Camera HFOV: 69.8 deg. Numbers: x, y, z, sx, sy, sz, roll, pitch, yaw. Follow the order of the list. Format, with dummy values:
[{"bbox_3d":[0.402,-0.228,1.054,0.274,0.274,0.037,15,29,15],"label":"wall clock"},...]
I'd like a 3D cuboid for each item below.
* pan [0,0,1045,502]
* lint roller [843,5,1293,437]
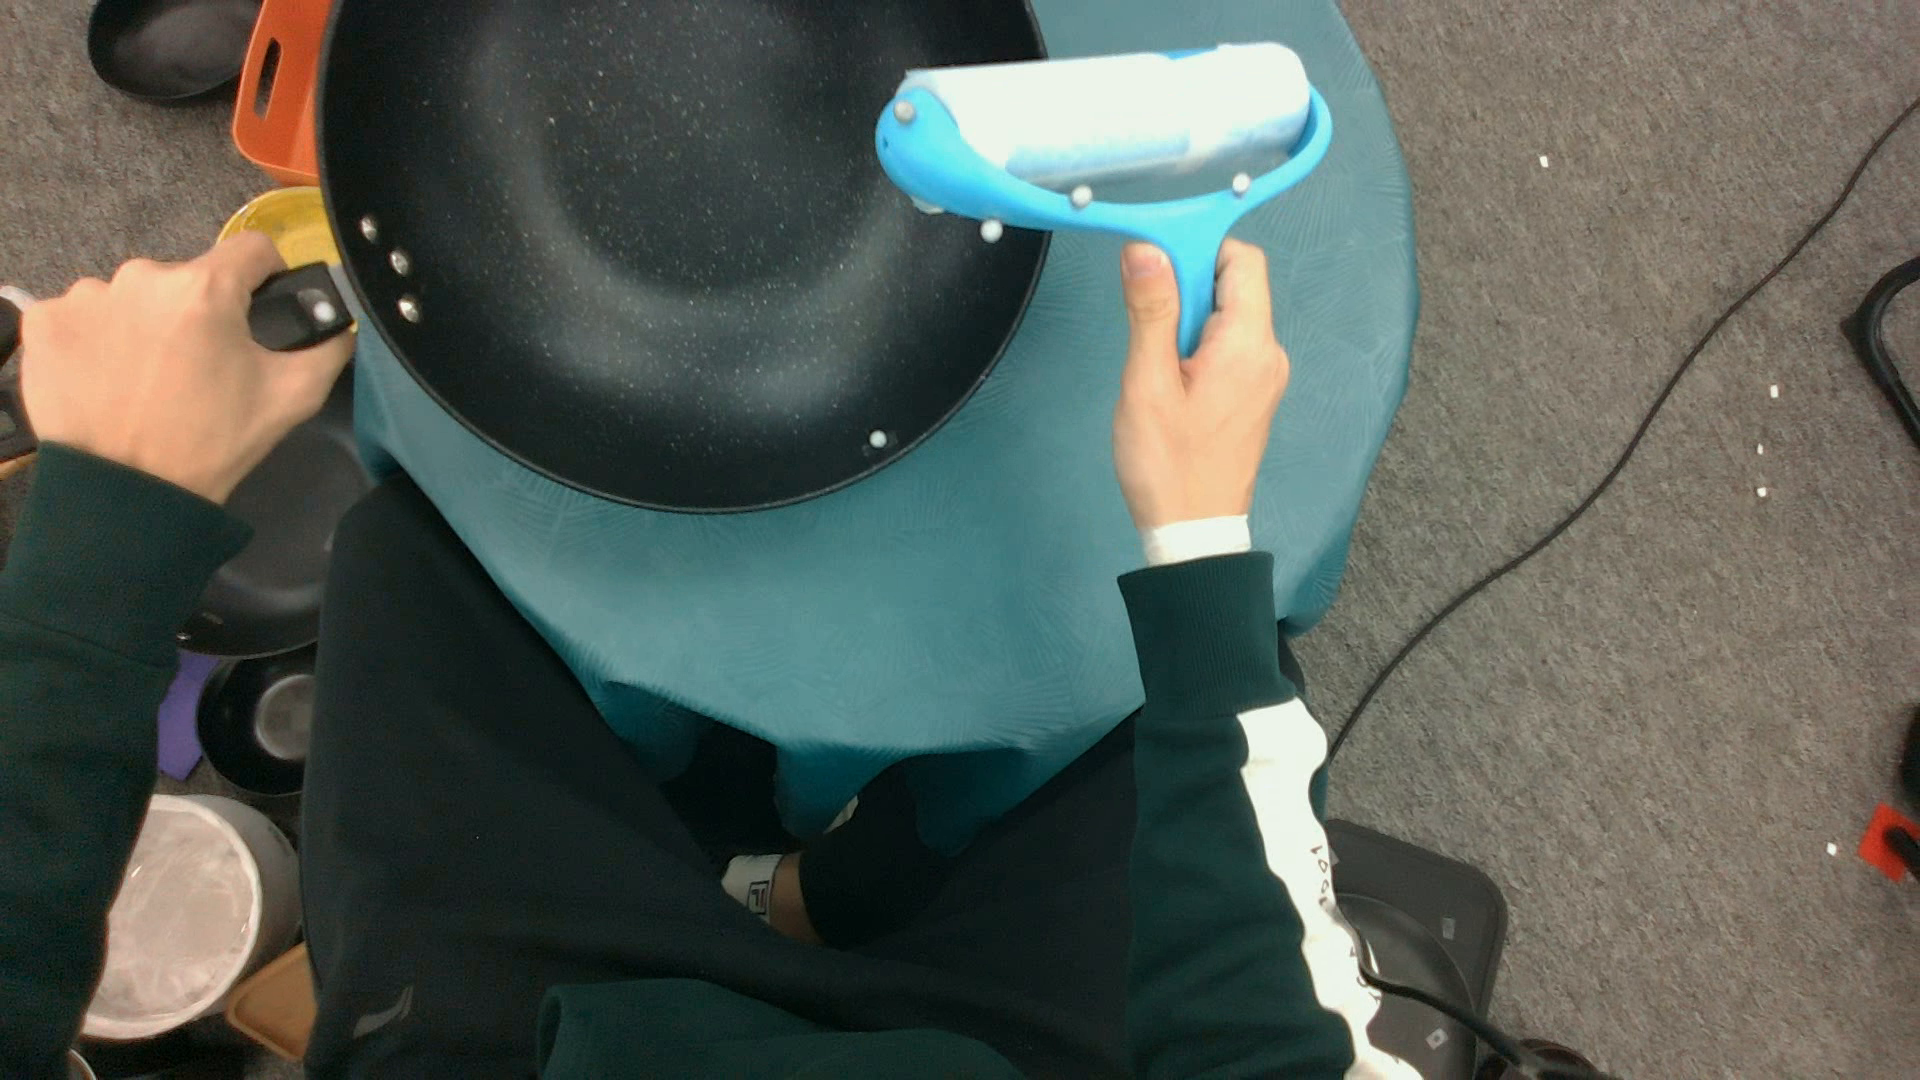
[{"bbox_3d":[-0.193,-0.141,0.605,0.477,0.112,0.309,-21,117,-6],"label":"pan"},{"bbox_3d":[0.070,-0.136,0.594,0.230,0.067,0.180,-24,96,-34],"label":"lint roller"}]
